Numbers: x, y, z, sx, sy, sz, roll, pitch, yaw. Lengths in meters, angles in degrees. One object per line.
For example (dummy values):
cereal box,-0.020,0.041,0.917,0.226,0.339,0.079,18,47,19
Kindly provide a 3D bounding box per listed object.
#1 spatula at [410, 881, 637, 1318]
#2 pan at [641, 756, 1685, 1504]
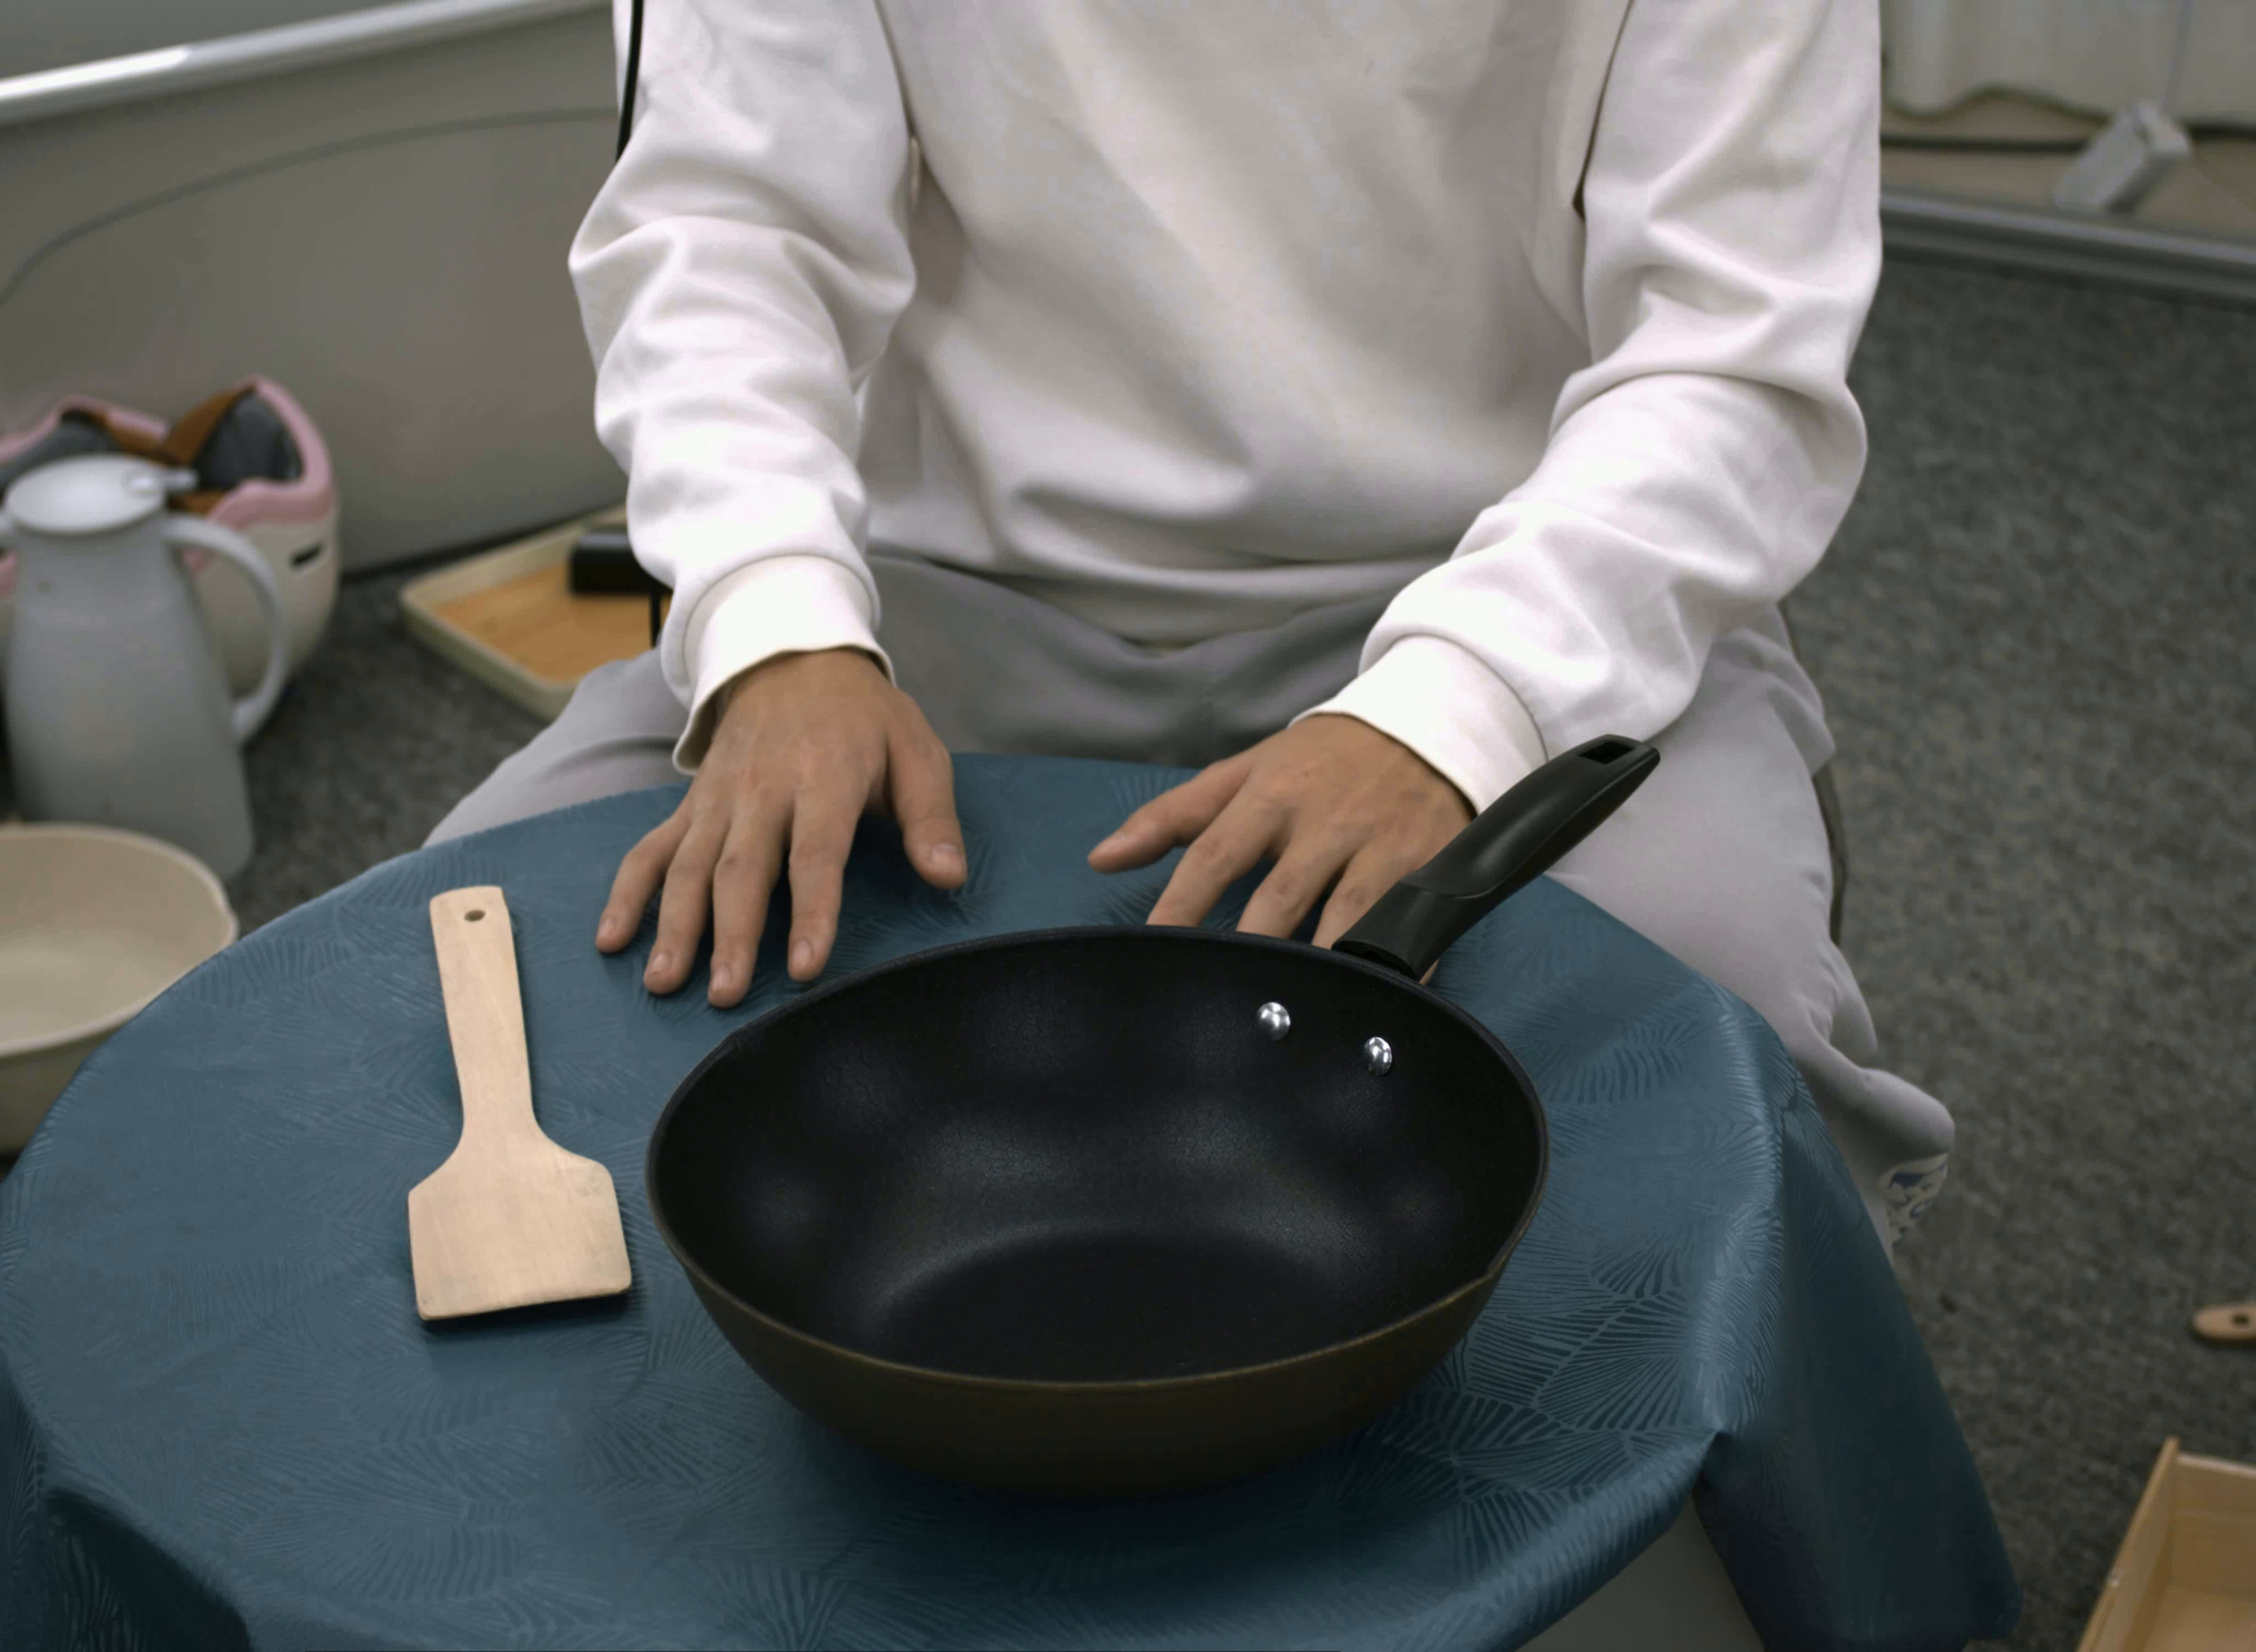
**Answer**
spatula,-0.218,0.090,1.935,0.072,0.010,0.296,-8,28,-7
pan,0.044,0.096,1.822,0.287,0.086,0.470,17,32,32
